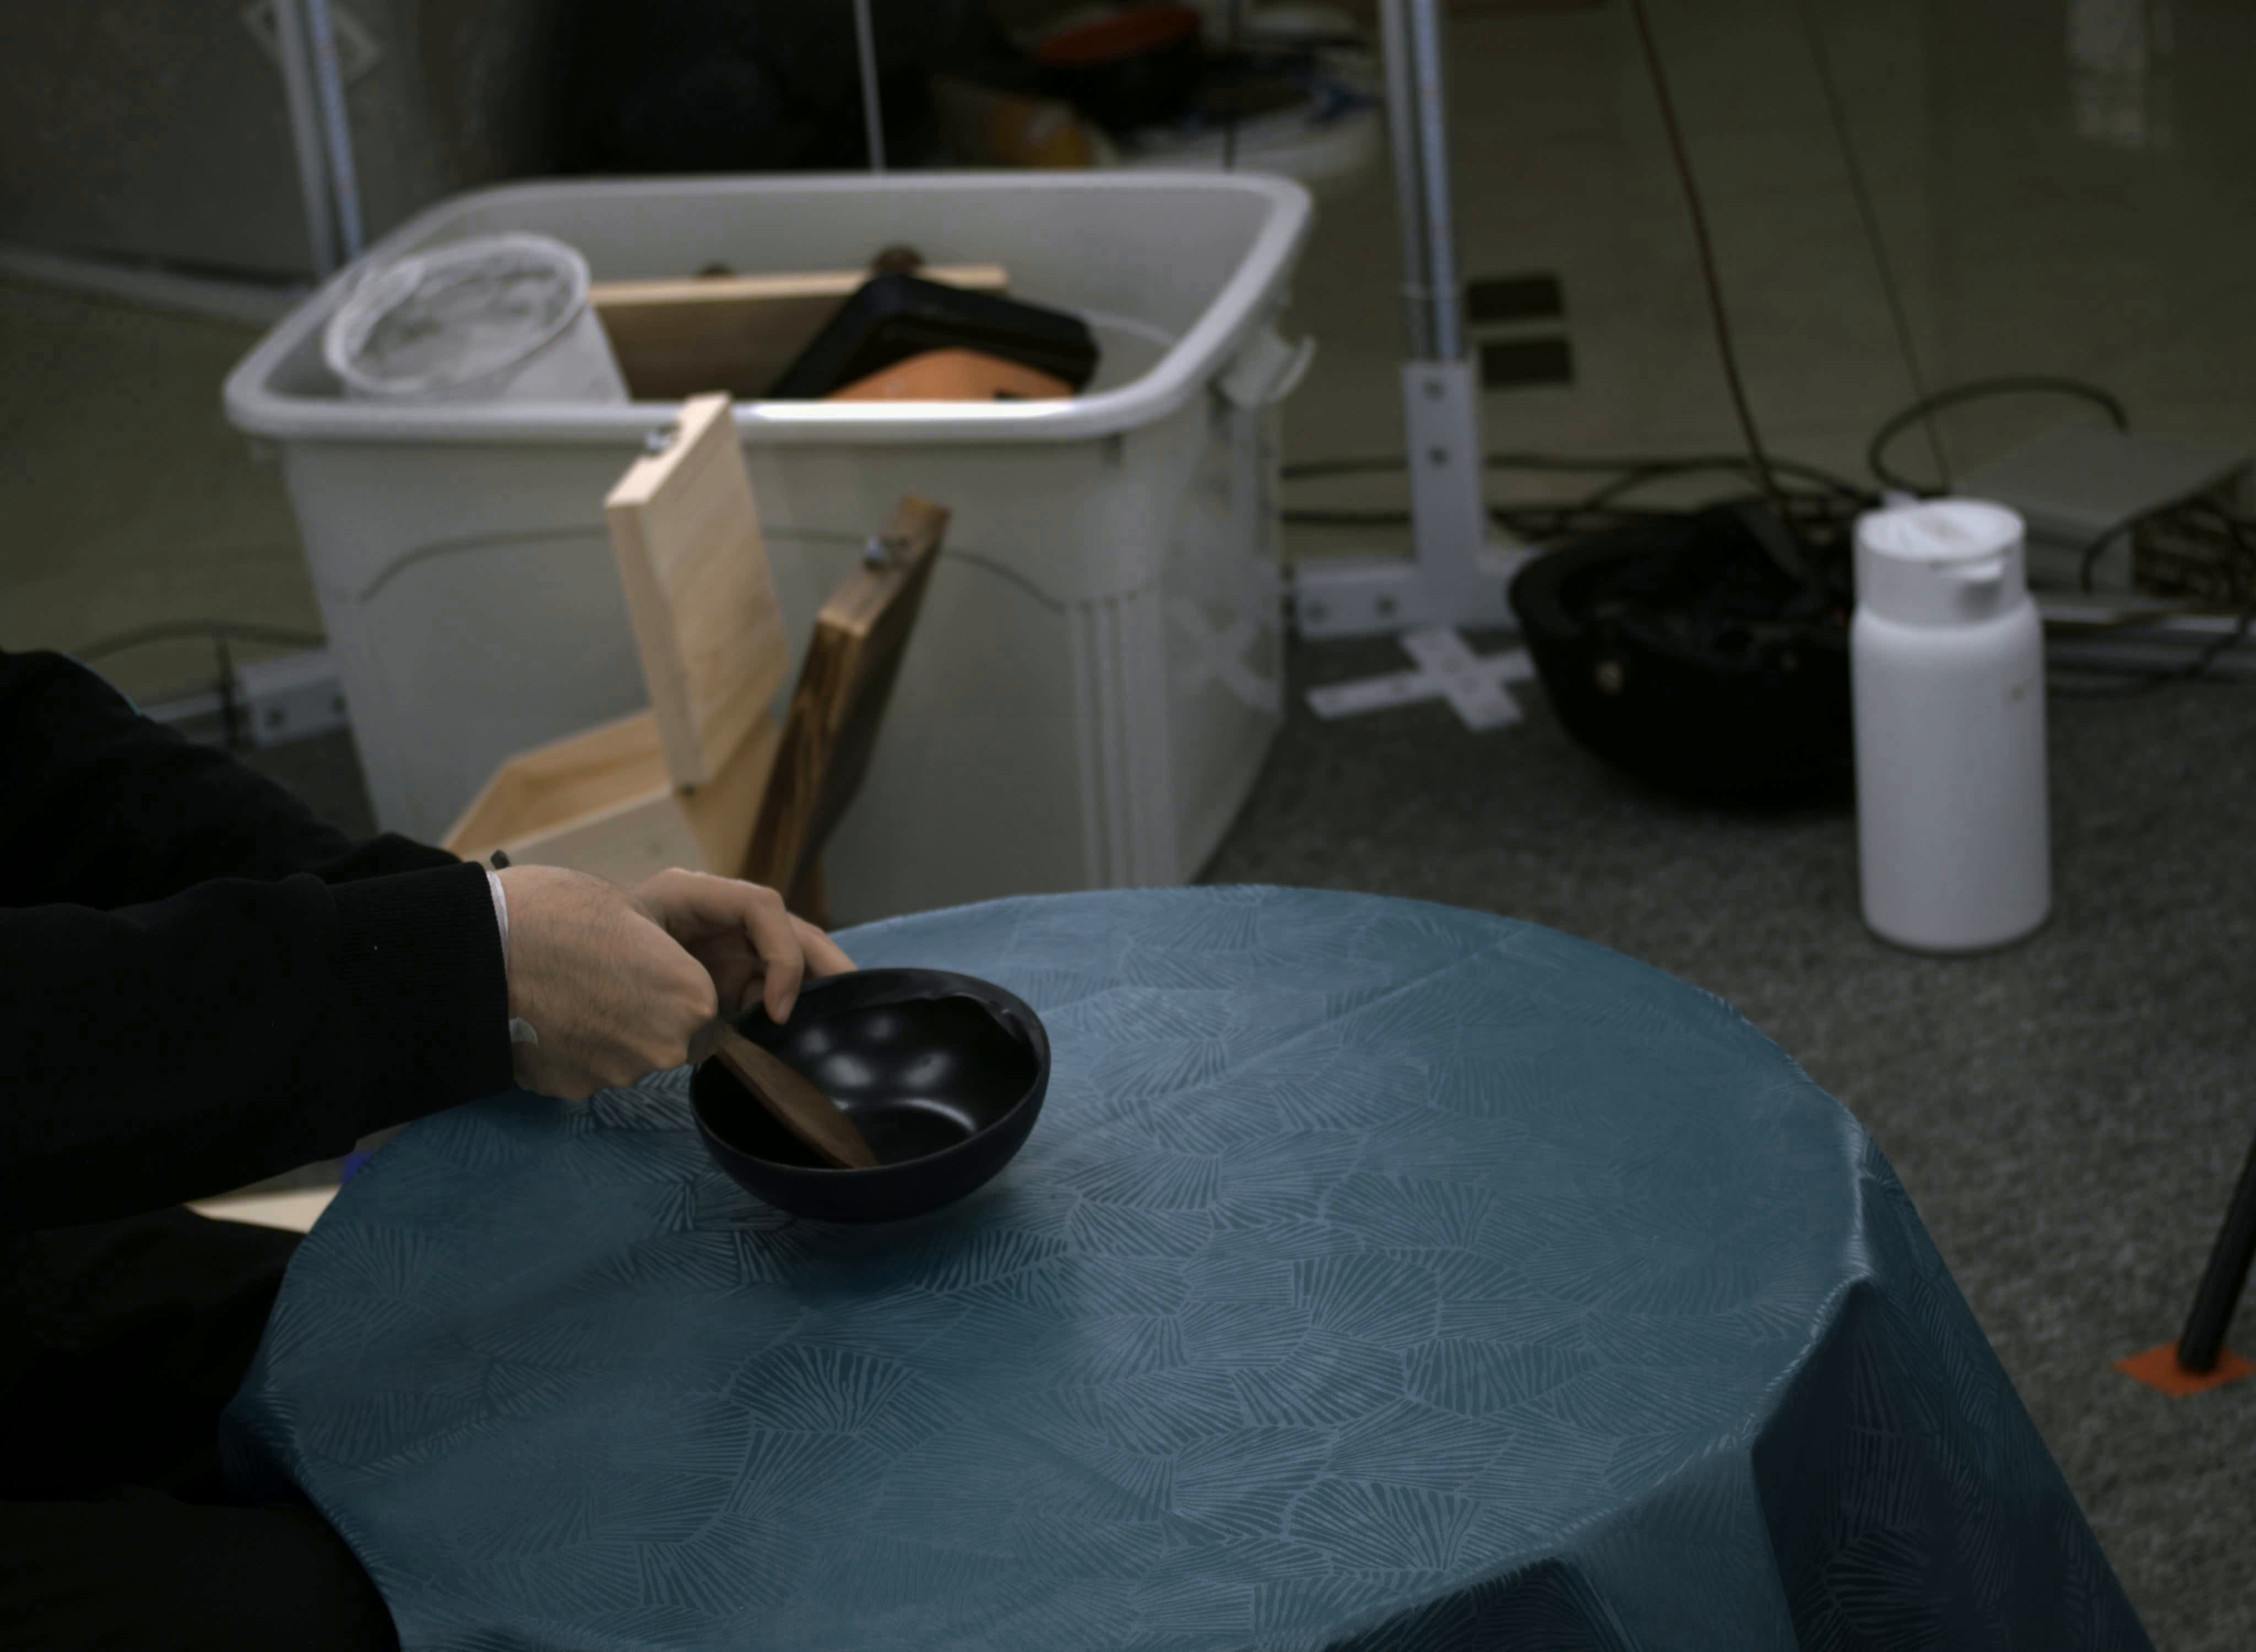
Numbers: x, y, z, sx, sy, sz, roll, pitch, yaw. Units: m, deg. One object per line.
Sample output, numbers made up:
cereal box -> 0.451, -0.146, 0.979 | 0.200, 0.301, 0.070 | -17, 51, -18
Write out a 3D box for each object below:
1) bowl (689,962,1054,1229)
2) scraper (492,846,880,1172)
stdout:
bowl -> -0.096, 0.111, 2.161 | 0.140, 0.051, 0.137 | -4, 35, 3
scraper -> -0.166, 0.068, 2.115 | 0.011, 0.214, 0.074 | -43, 39, 5
